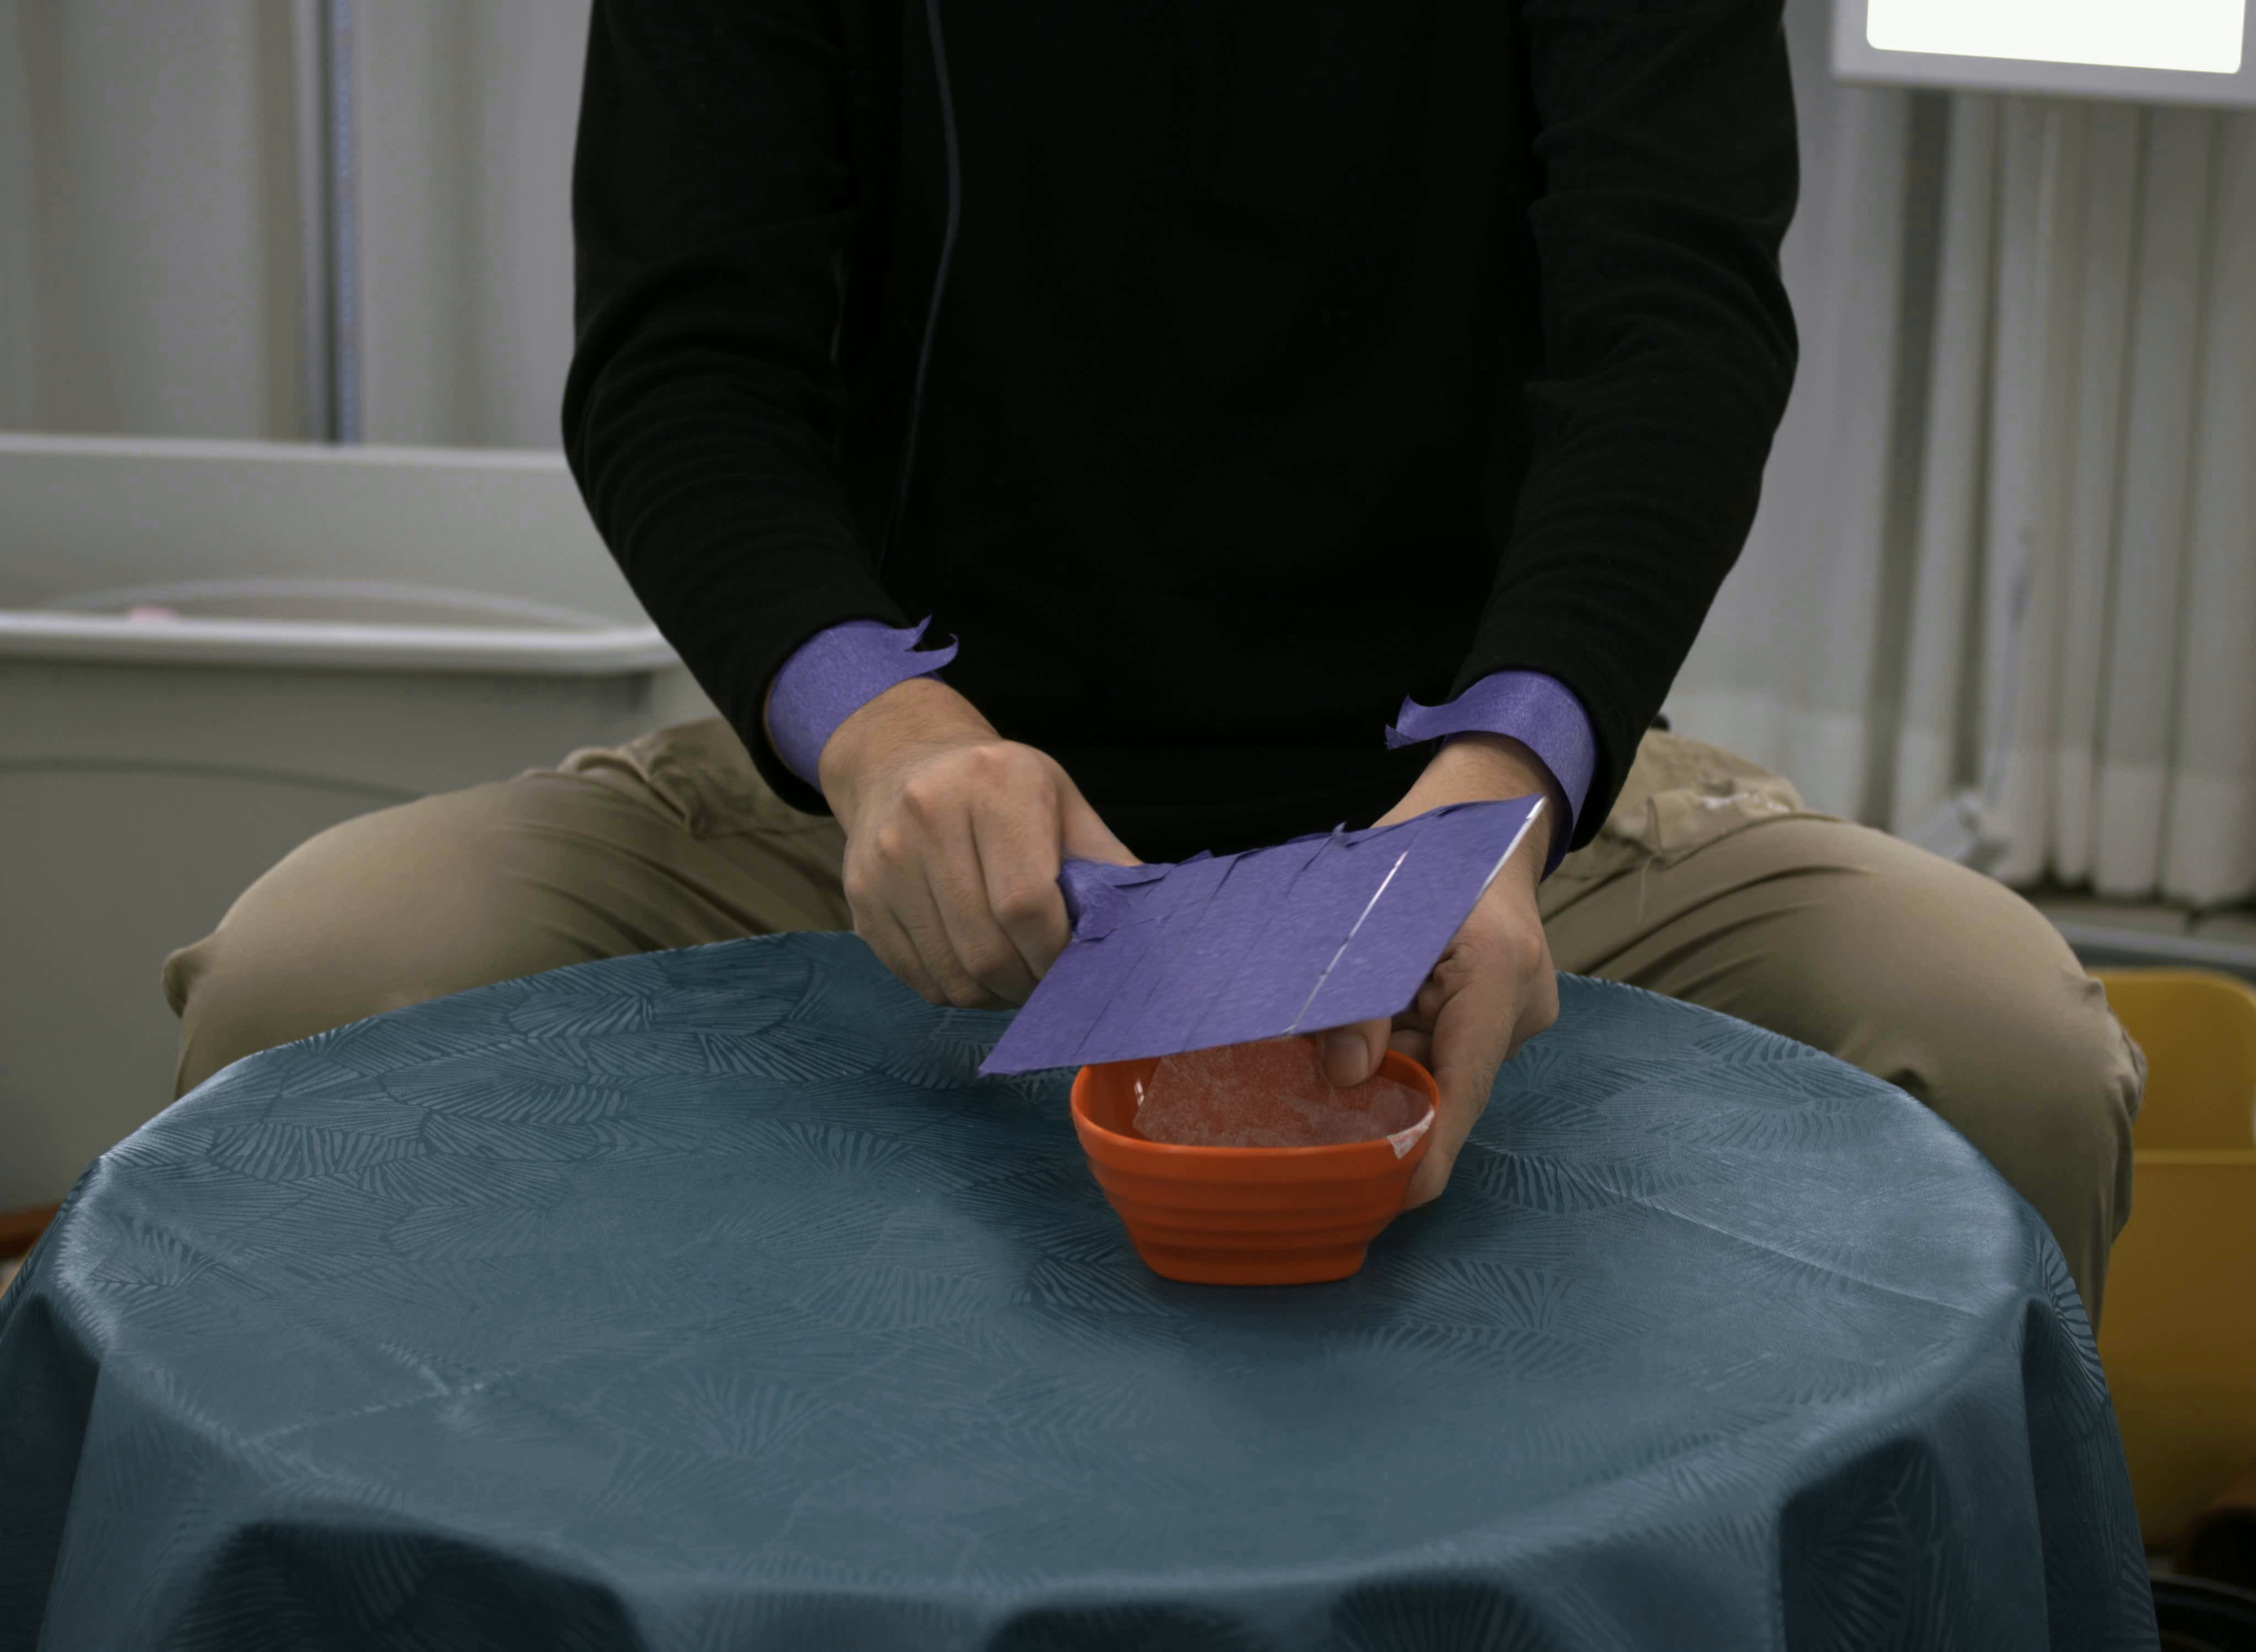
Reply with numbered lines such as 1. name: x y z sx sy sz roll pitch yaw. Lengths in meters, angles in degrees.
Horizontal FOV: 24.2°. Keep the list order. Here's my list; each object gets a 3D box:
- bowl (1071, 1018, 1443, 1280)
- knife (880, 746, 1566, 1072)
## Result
1. bowl: 0.038 0.099 1.566 0.118 0.052 0.118 -1 19 1
2. knife: 0.007 0.034 1.611 0.313 0.032 0.103 -15 32 52
